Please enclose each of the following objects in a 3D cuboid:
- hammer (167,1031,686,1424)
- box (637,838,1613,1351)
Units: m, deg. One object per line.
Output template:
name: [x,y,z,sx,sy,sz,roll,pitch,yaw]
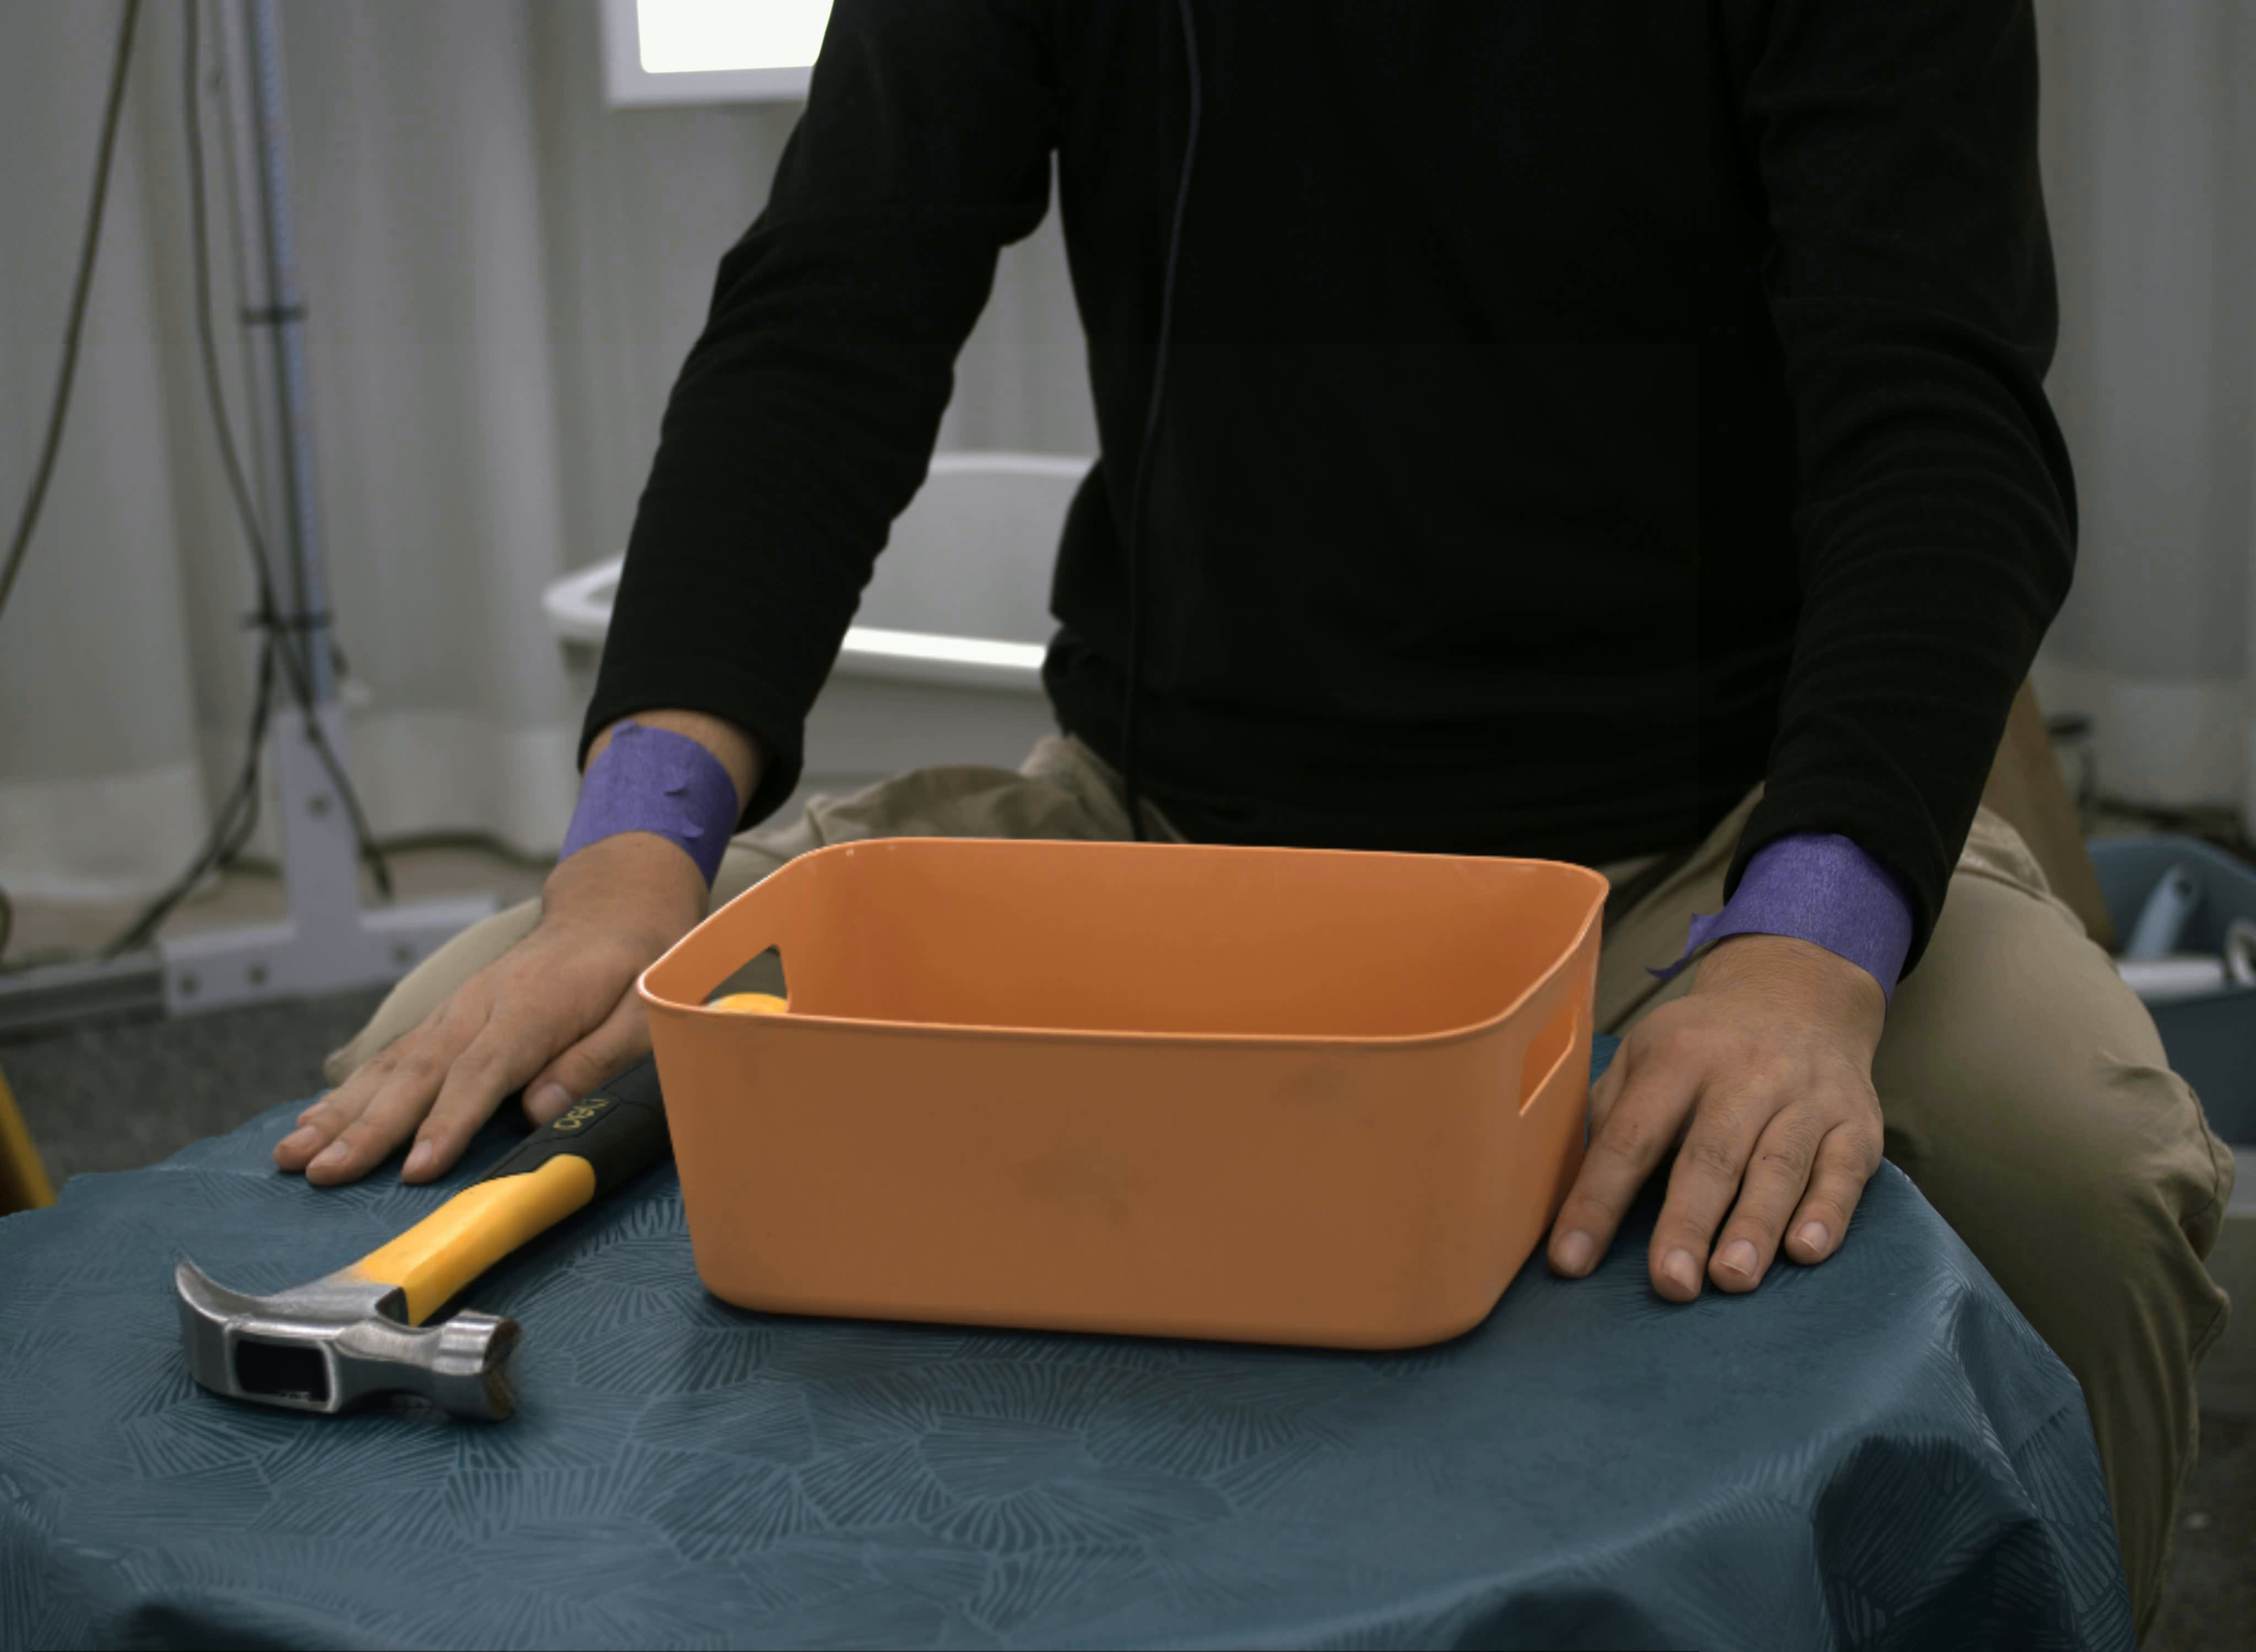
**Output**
hammer: [-0.183,0.108,1.704,0.131,0.032,0.339,3,17,21]
box: [0.003,0.079,1.651,0.273,0.102,0.200,2,15,17]
